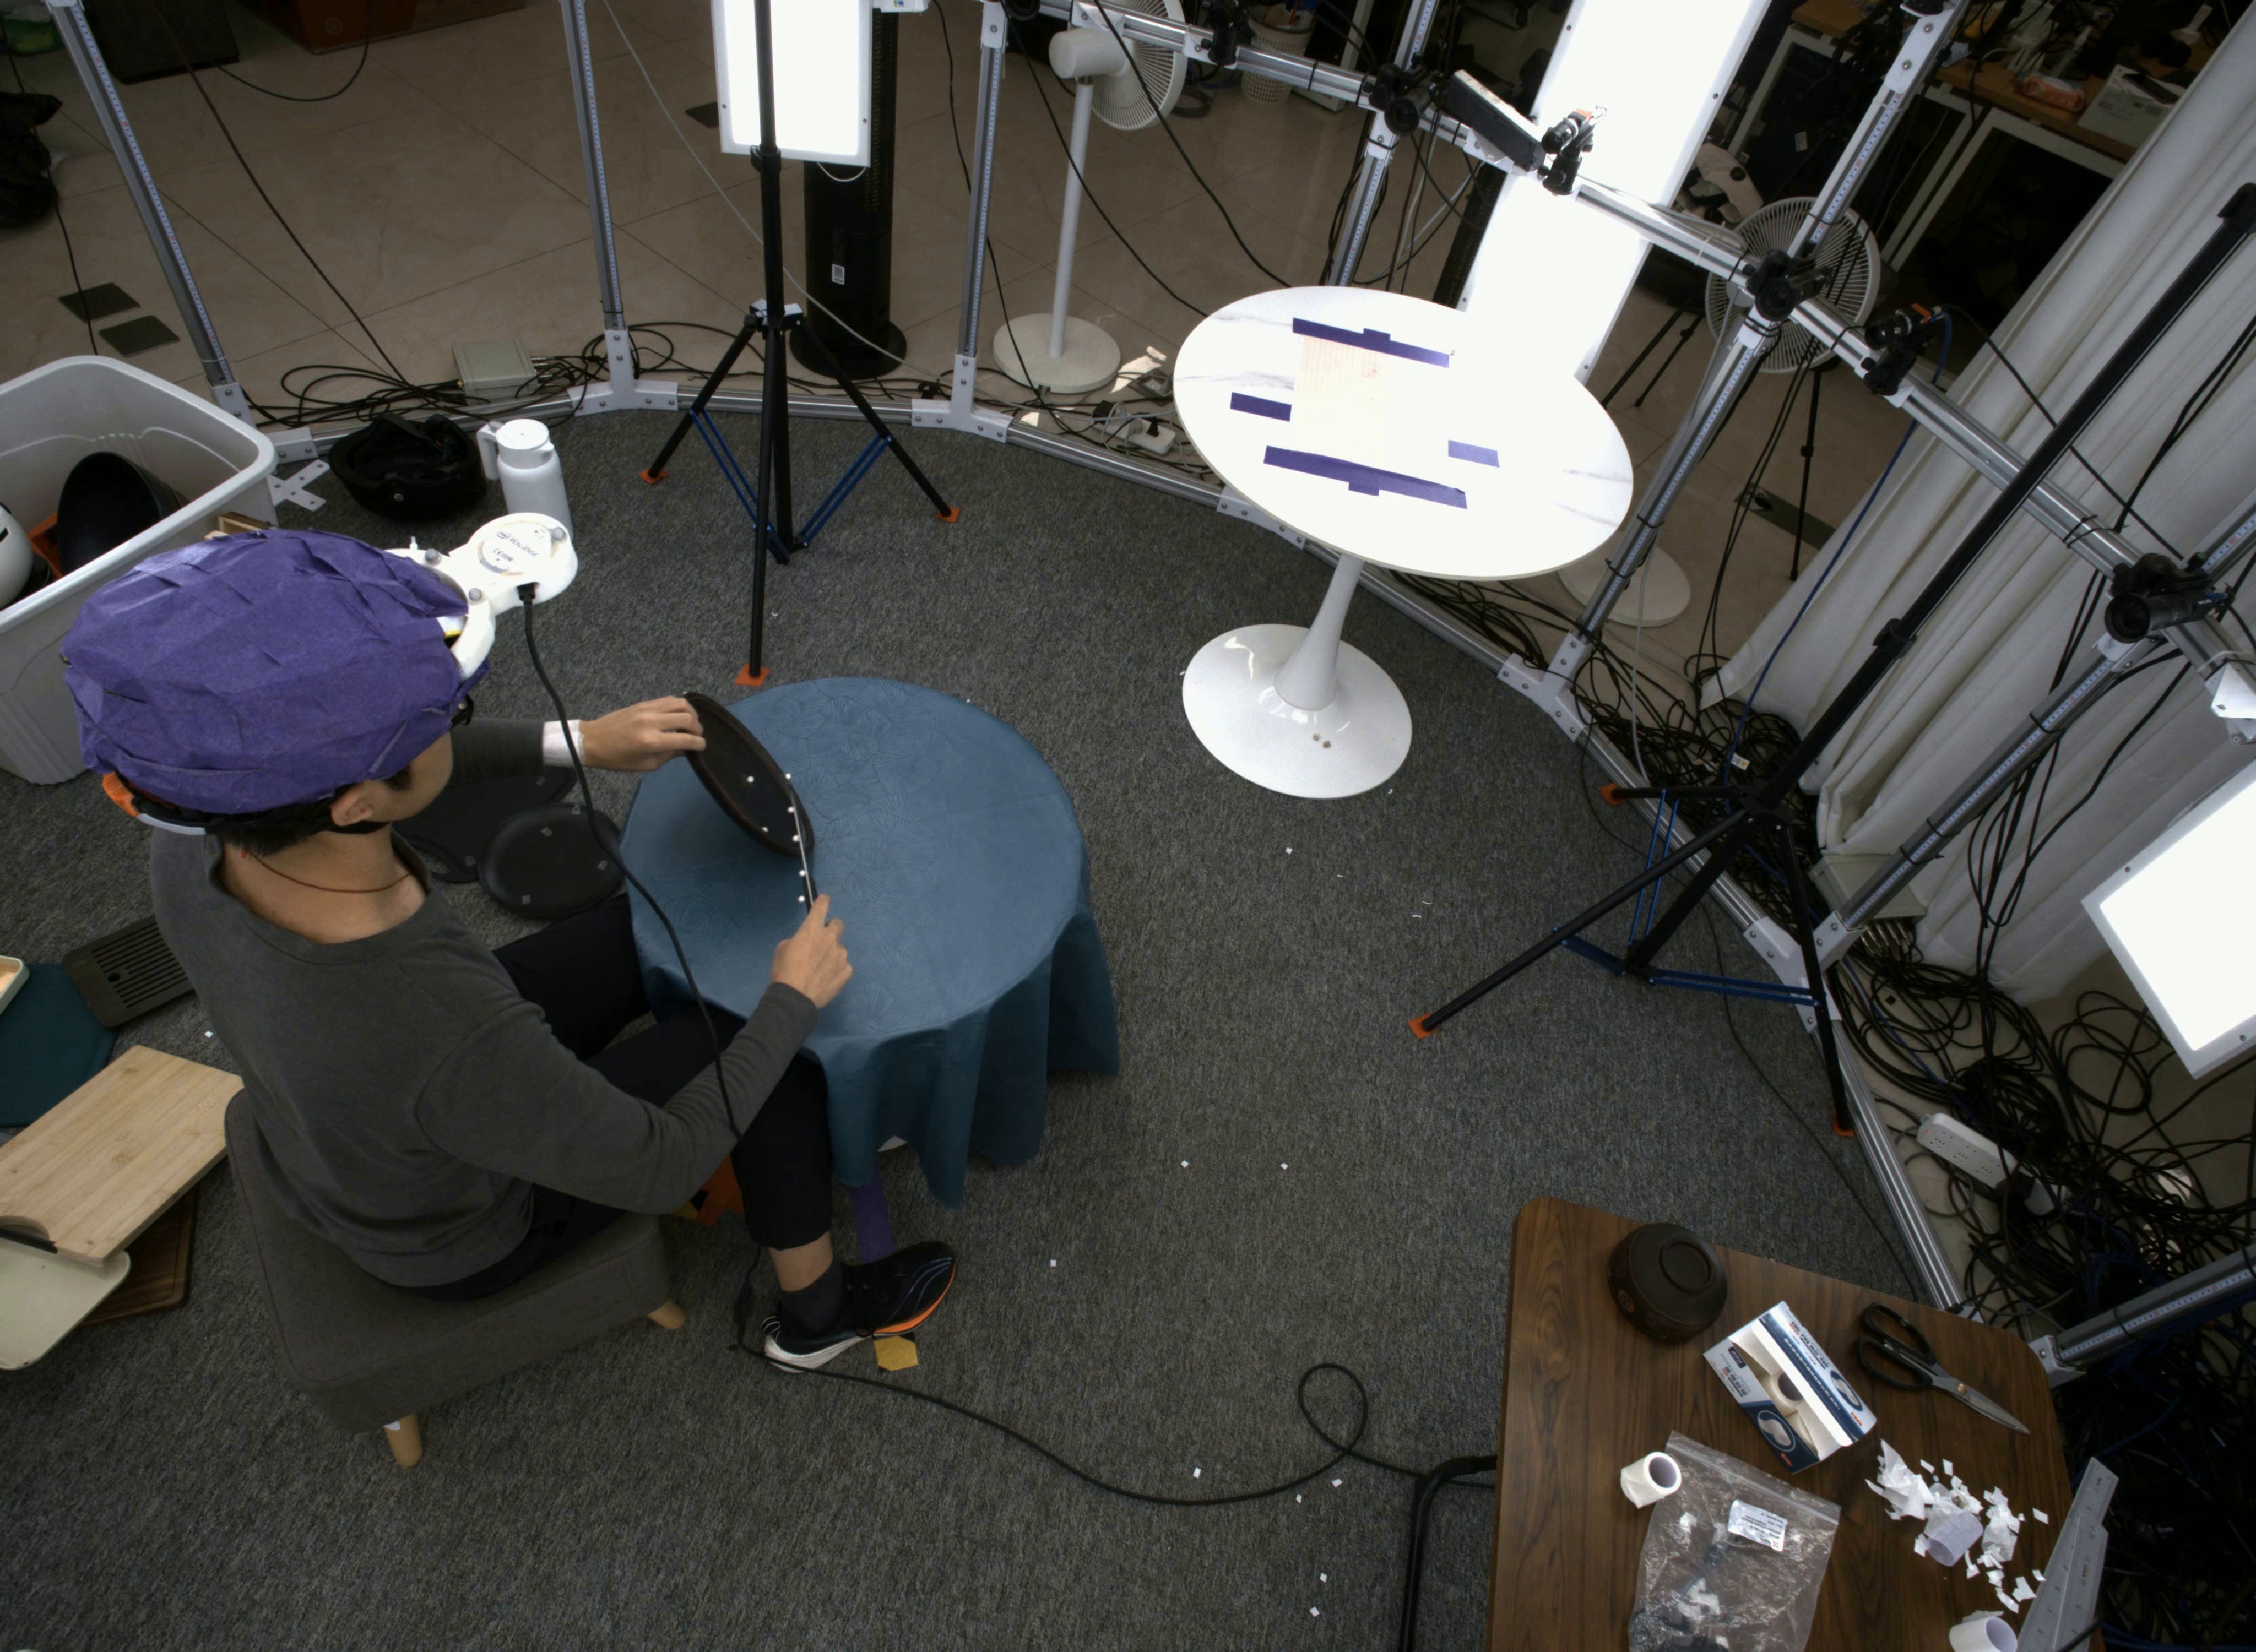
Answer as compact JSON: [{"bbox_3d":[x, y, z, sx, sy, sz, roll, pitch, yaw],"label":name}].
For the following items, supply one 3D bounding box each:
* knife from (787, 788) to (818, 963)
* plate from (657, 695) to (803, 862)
[{"bbox_3d":[-0.397,0.053,1.562,0.016,0.025,0.234,-9,64,-13],"label":"knife"},{"bbox_3d":[-0.502,-0.059,1.626,0.029,0.262,0.248,-36,63,3],"label":"plate"}]
